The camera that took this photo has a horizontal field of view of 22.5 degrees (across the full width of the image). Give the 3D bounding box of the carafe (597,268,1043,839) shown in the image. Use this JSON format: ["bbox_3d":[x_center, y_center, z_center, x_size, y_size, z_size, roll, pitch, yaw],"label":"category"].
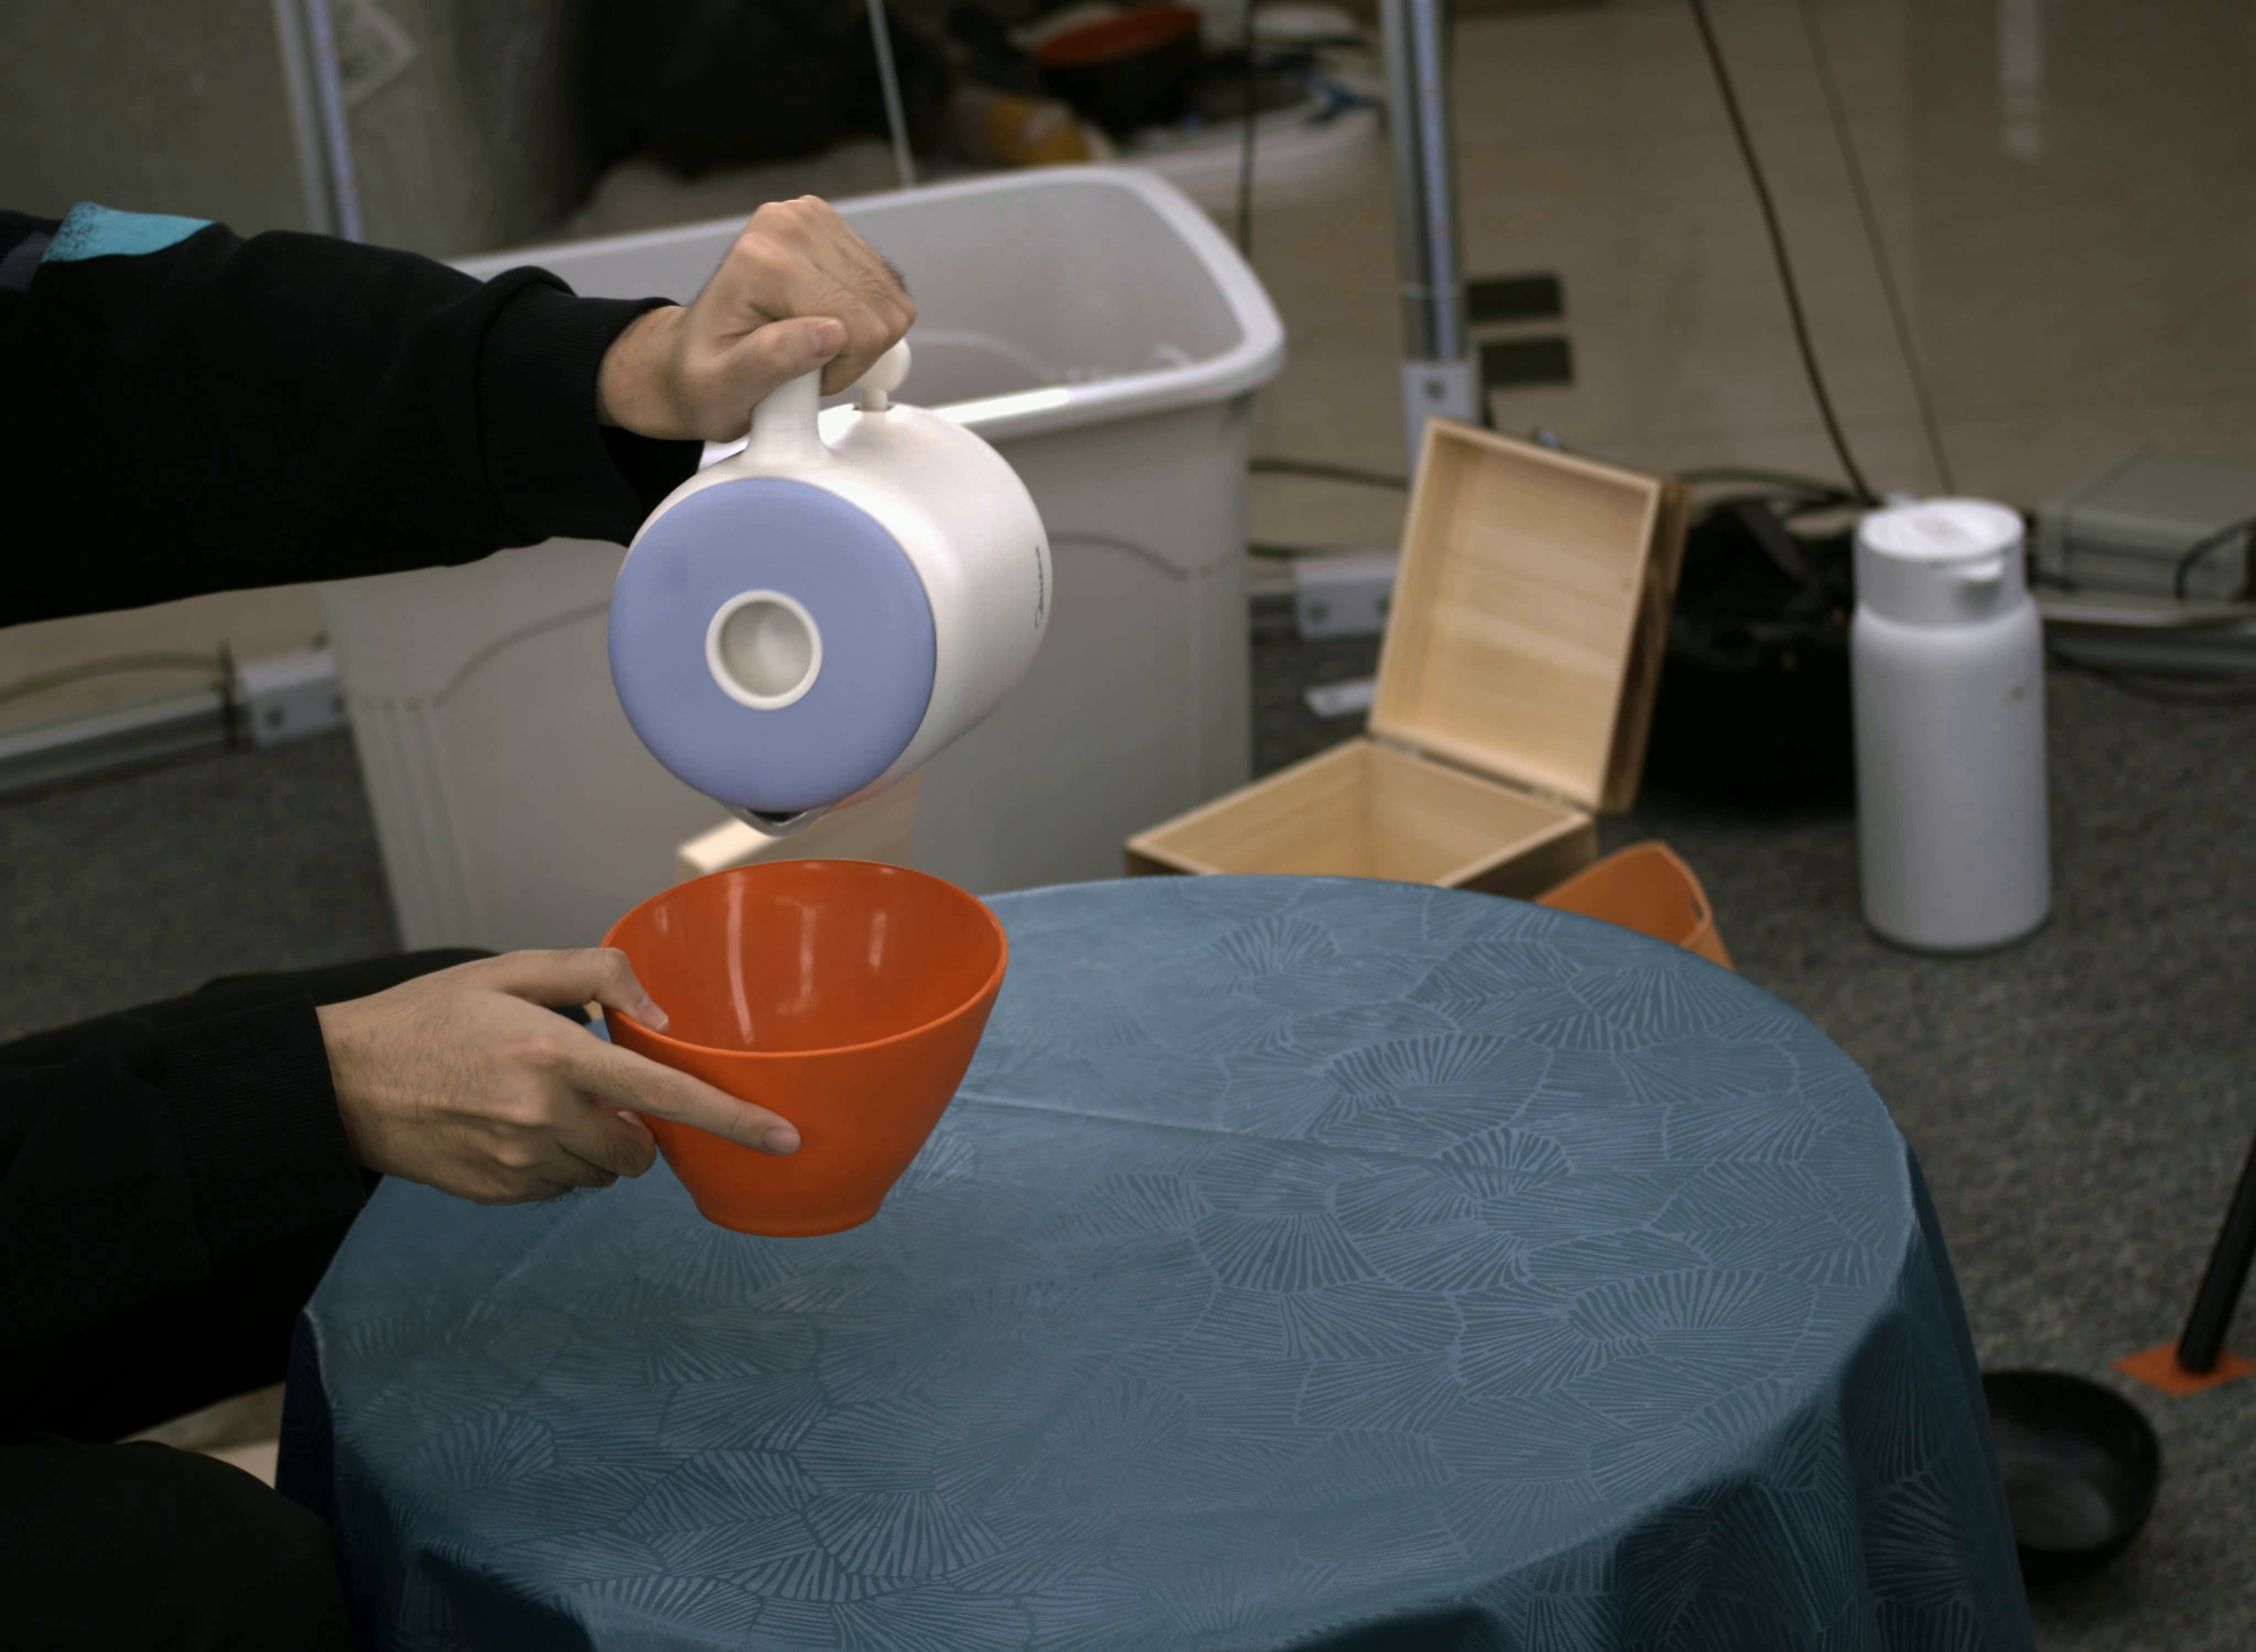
[{"bbox_3d":[-0.111,-0.103,2.033,0.132,0.193,0.181,0,11,12],"label":"carafe"}]

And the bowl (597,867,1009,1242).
[{"bbox_3d":[-0.117,0.086,2.033,0.148,0.106,0.146,1,18,0],"label":"bowl"}]
